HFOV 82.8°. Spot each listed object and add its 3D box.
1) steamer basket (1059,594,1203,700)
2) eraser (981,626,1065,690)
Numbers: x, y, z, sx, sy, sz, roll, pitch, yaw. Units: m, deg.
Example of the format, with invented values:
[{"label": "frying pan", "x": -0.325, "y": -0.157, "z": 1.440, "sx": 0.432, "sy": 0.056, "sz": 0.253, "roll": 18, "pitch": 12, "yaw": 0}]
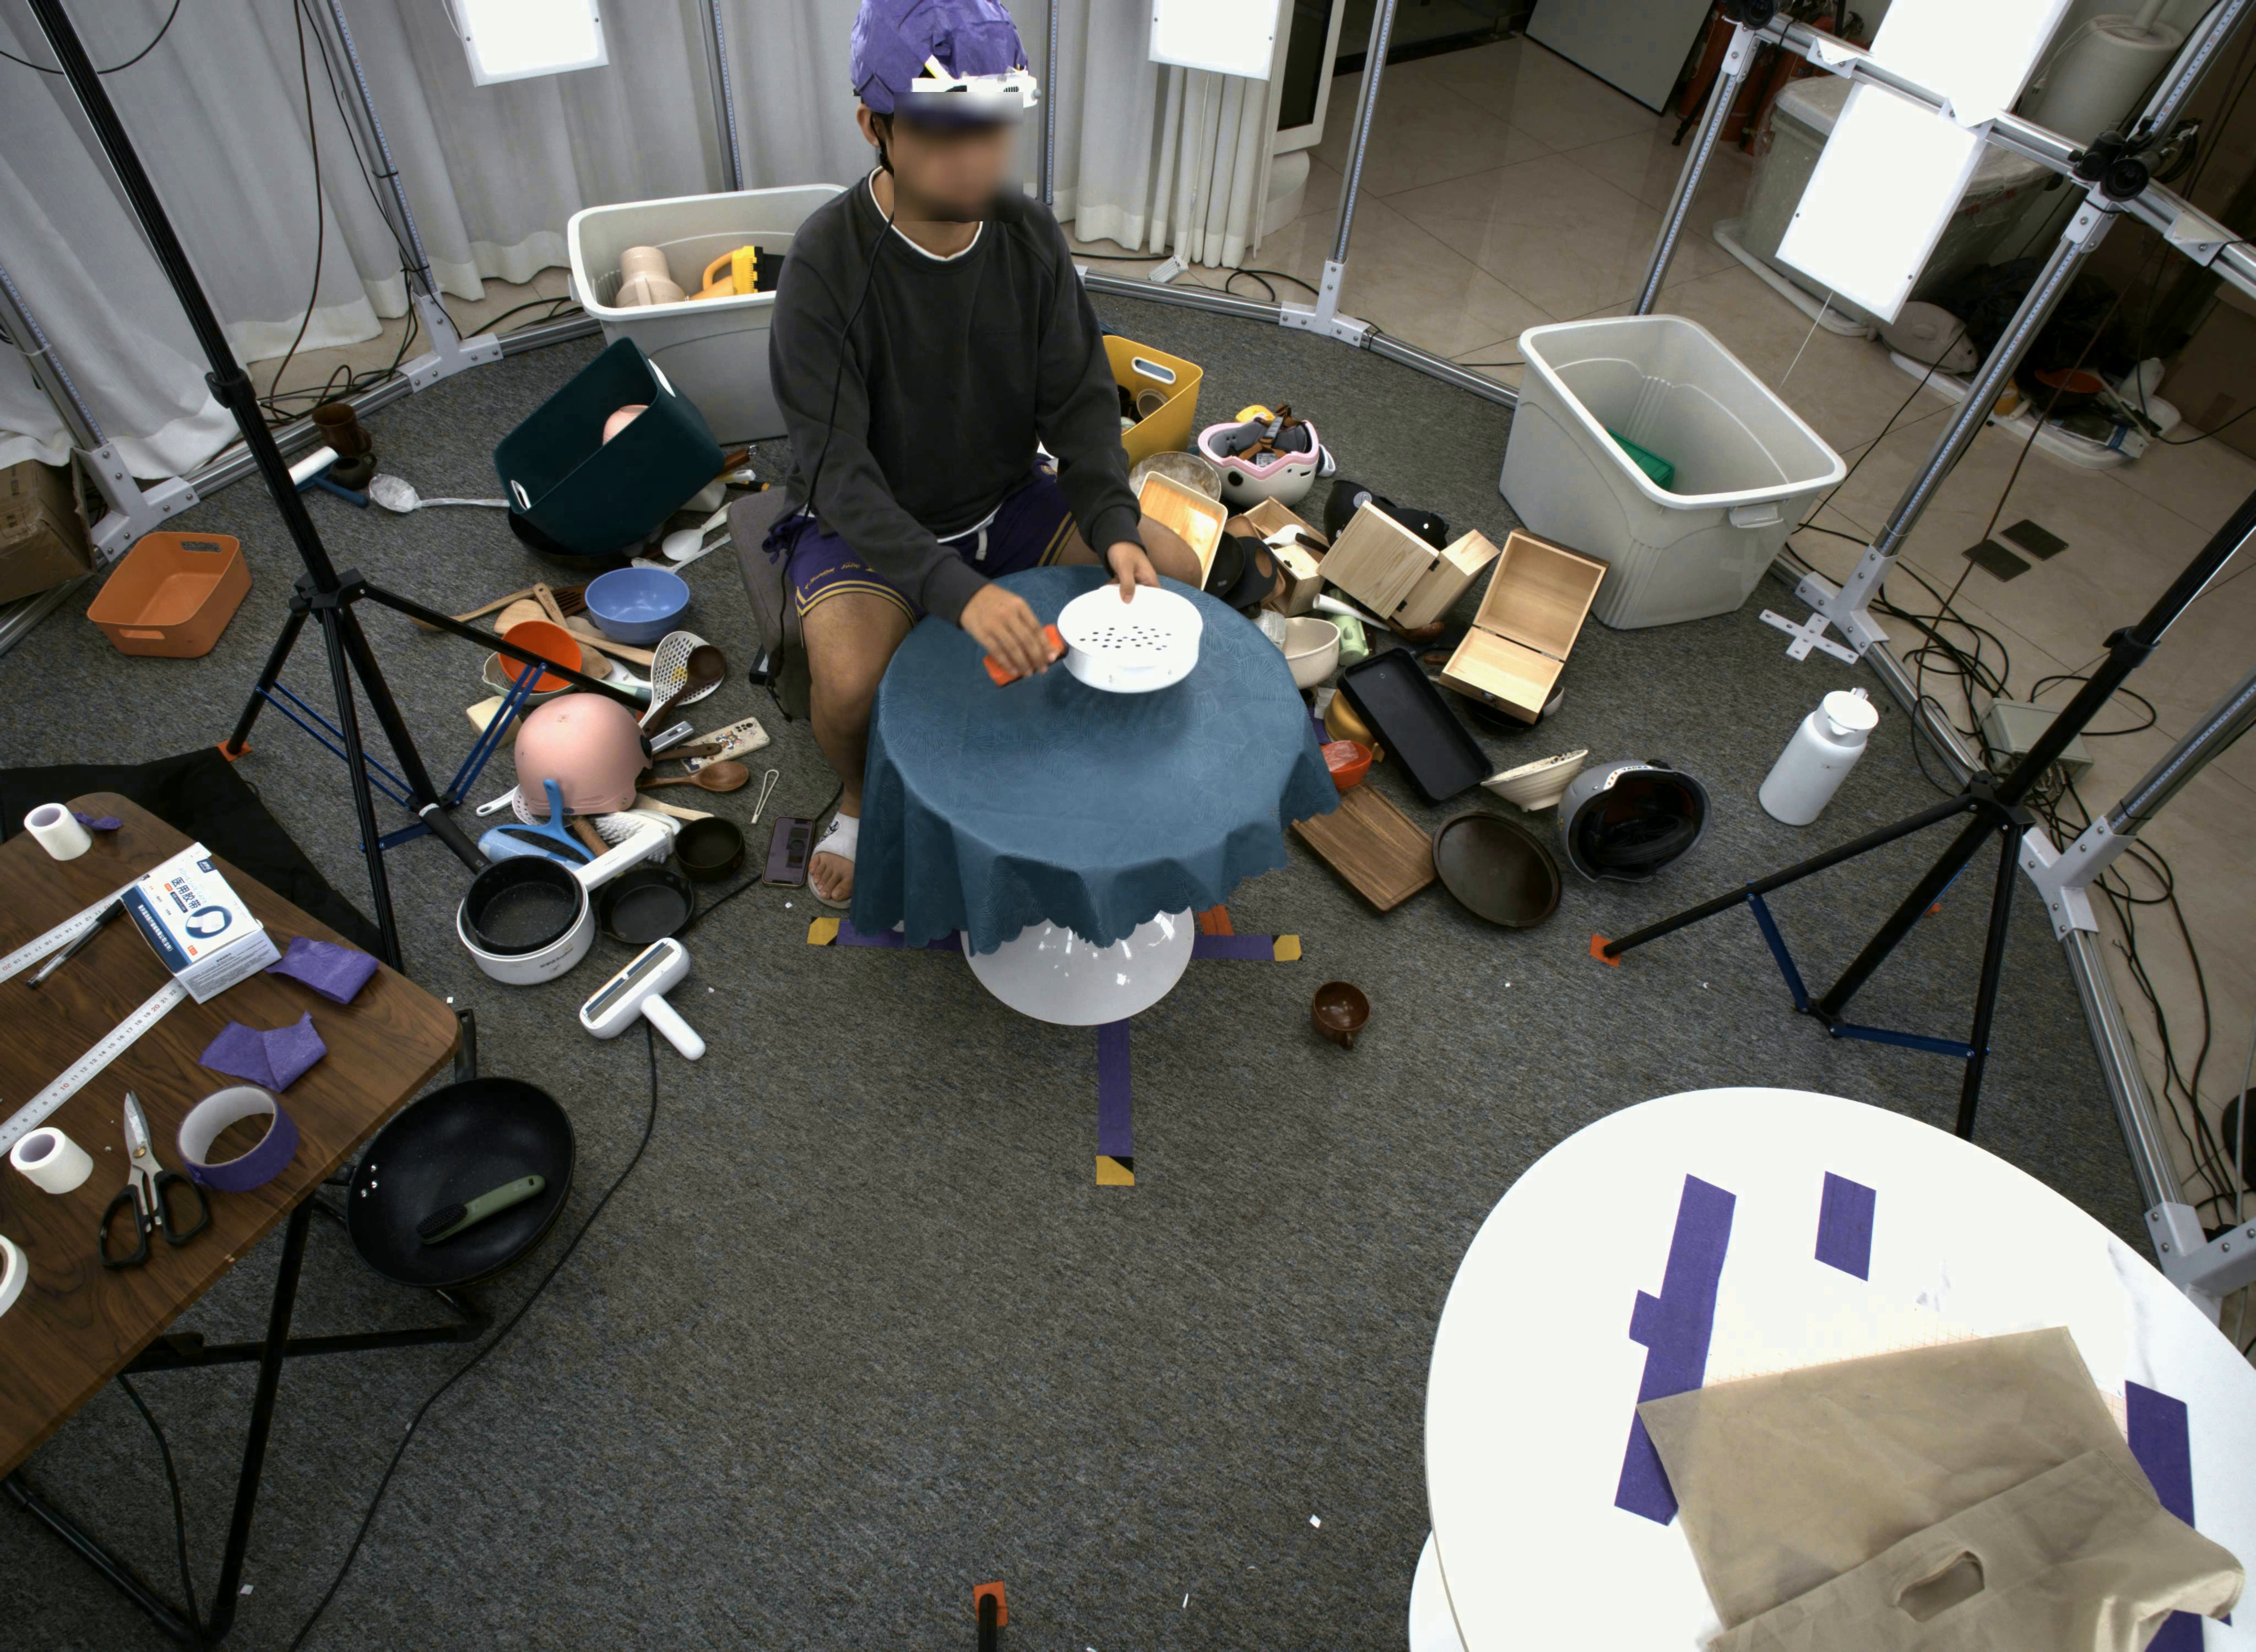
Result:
[{"label": "steamer basket", "x": 0.006, "y": -0.251, "z": 1.807, "sx": 0.202, "sy": 0.067, "sz": 0.236, "roll": -7, "pitch": 35, "yaw": -3}, {"label": "eraser", "x": -0.142, "y": -0.227, "z": 1.731, "sx": 0.108, "sy": 0.022, "sz": 0.060, "roll": -28, "pitch": 38, "yaw": -4}]
